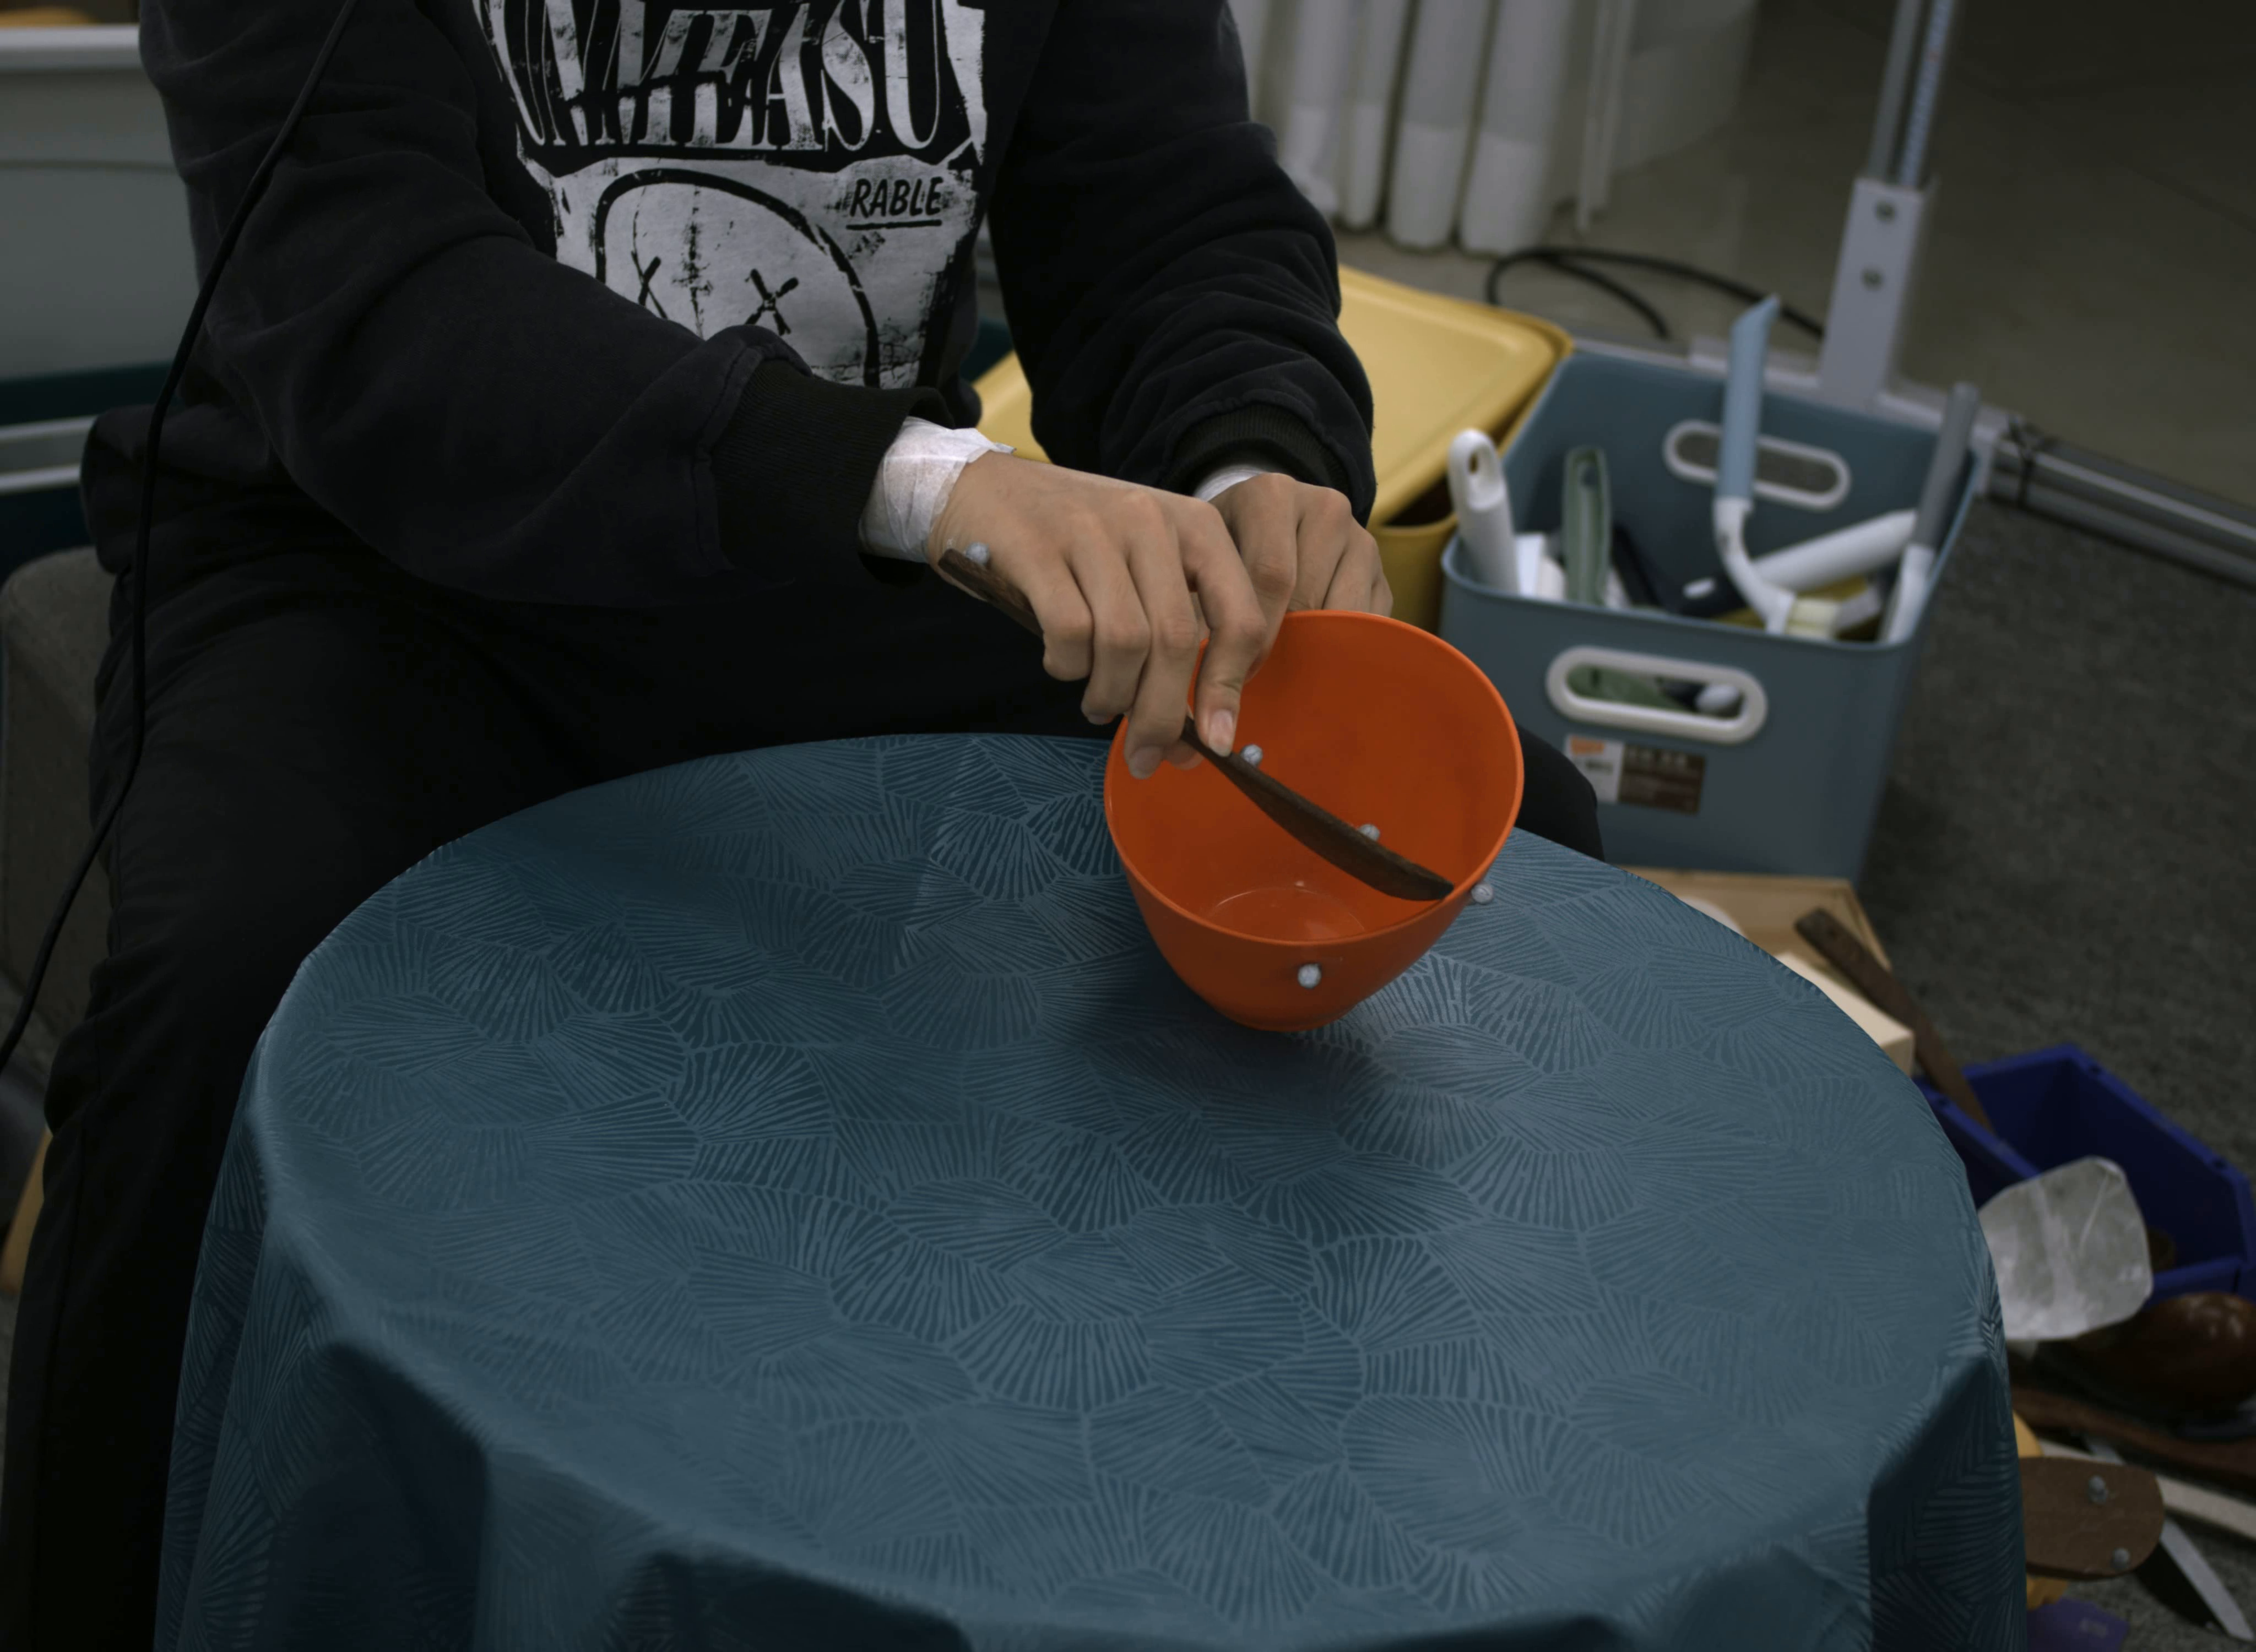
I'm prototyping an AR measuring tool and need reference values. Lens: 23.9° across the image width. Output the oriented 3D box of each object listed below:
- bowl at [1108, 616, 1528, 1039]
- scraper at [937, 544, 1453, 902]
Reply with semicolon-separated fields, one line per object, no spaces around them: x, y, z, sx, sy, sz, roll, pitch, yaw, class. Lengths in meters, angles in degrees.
0.065;0.012;1.902;0.147;0.104;0.149;1;46;-1;bowl
0.021;-0.034;1.831;0.211;0.011;0.076;36;-10;-2;scraper
